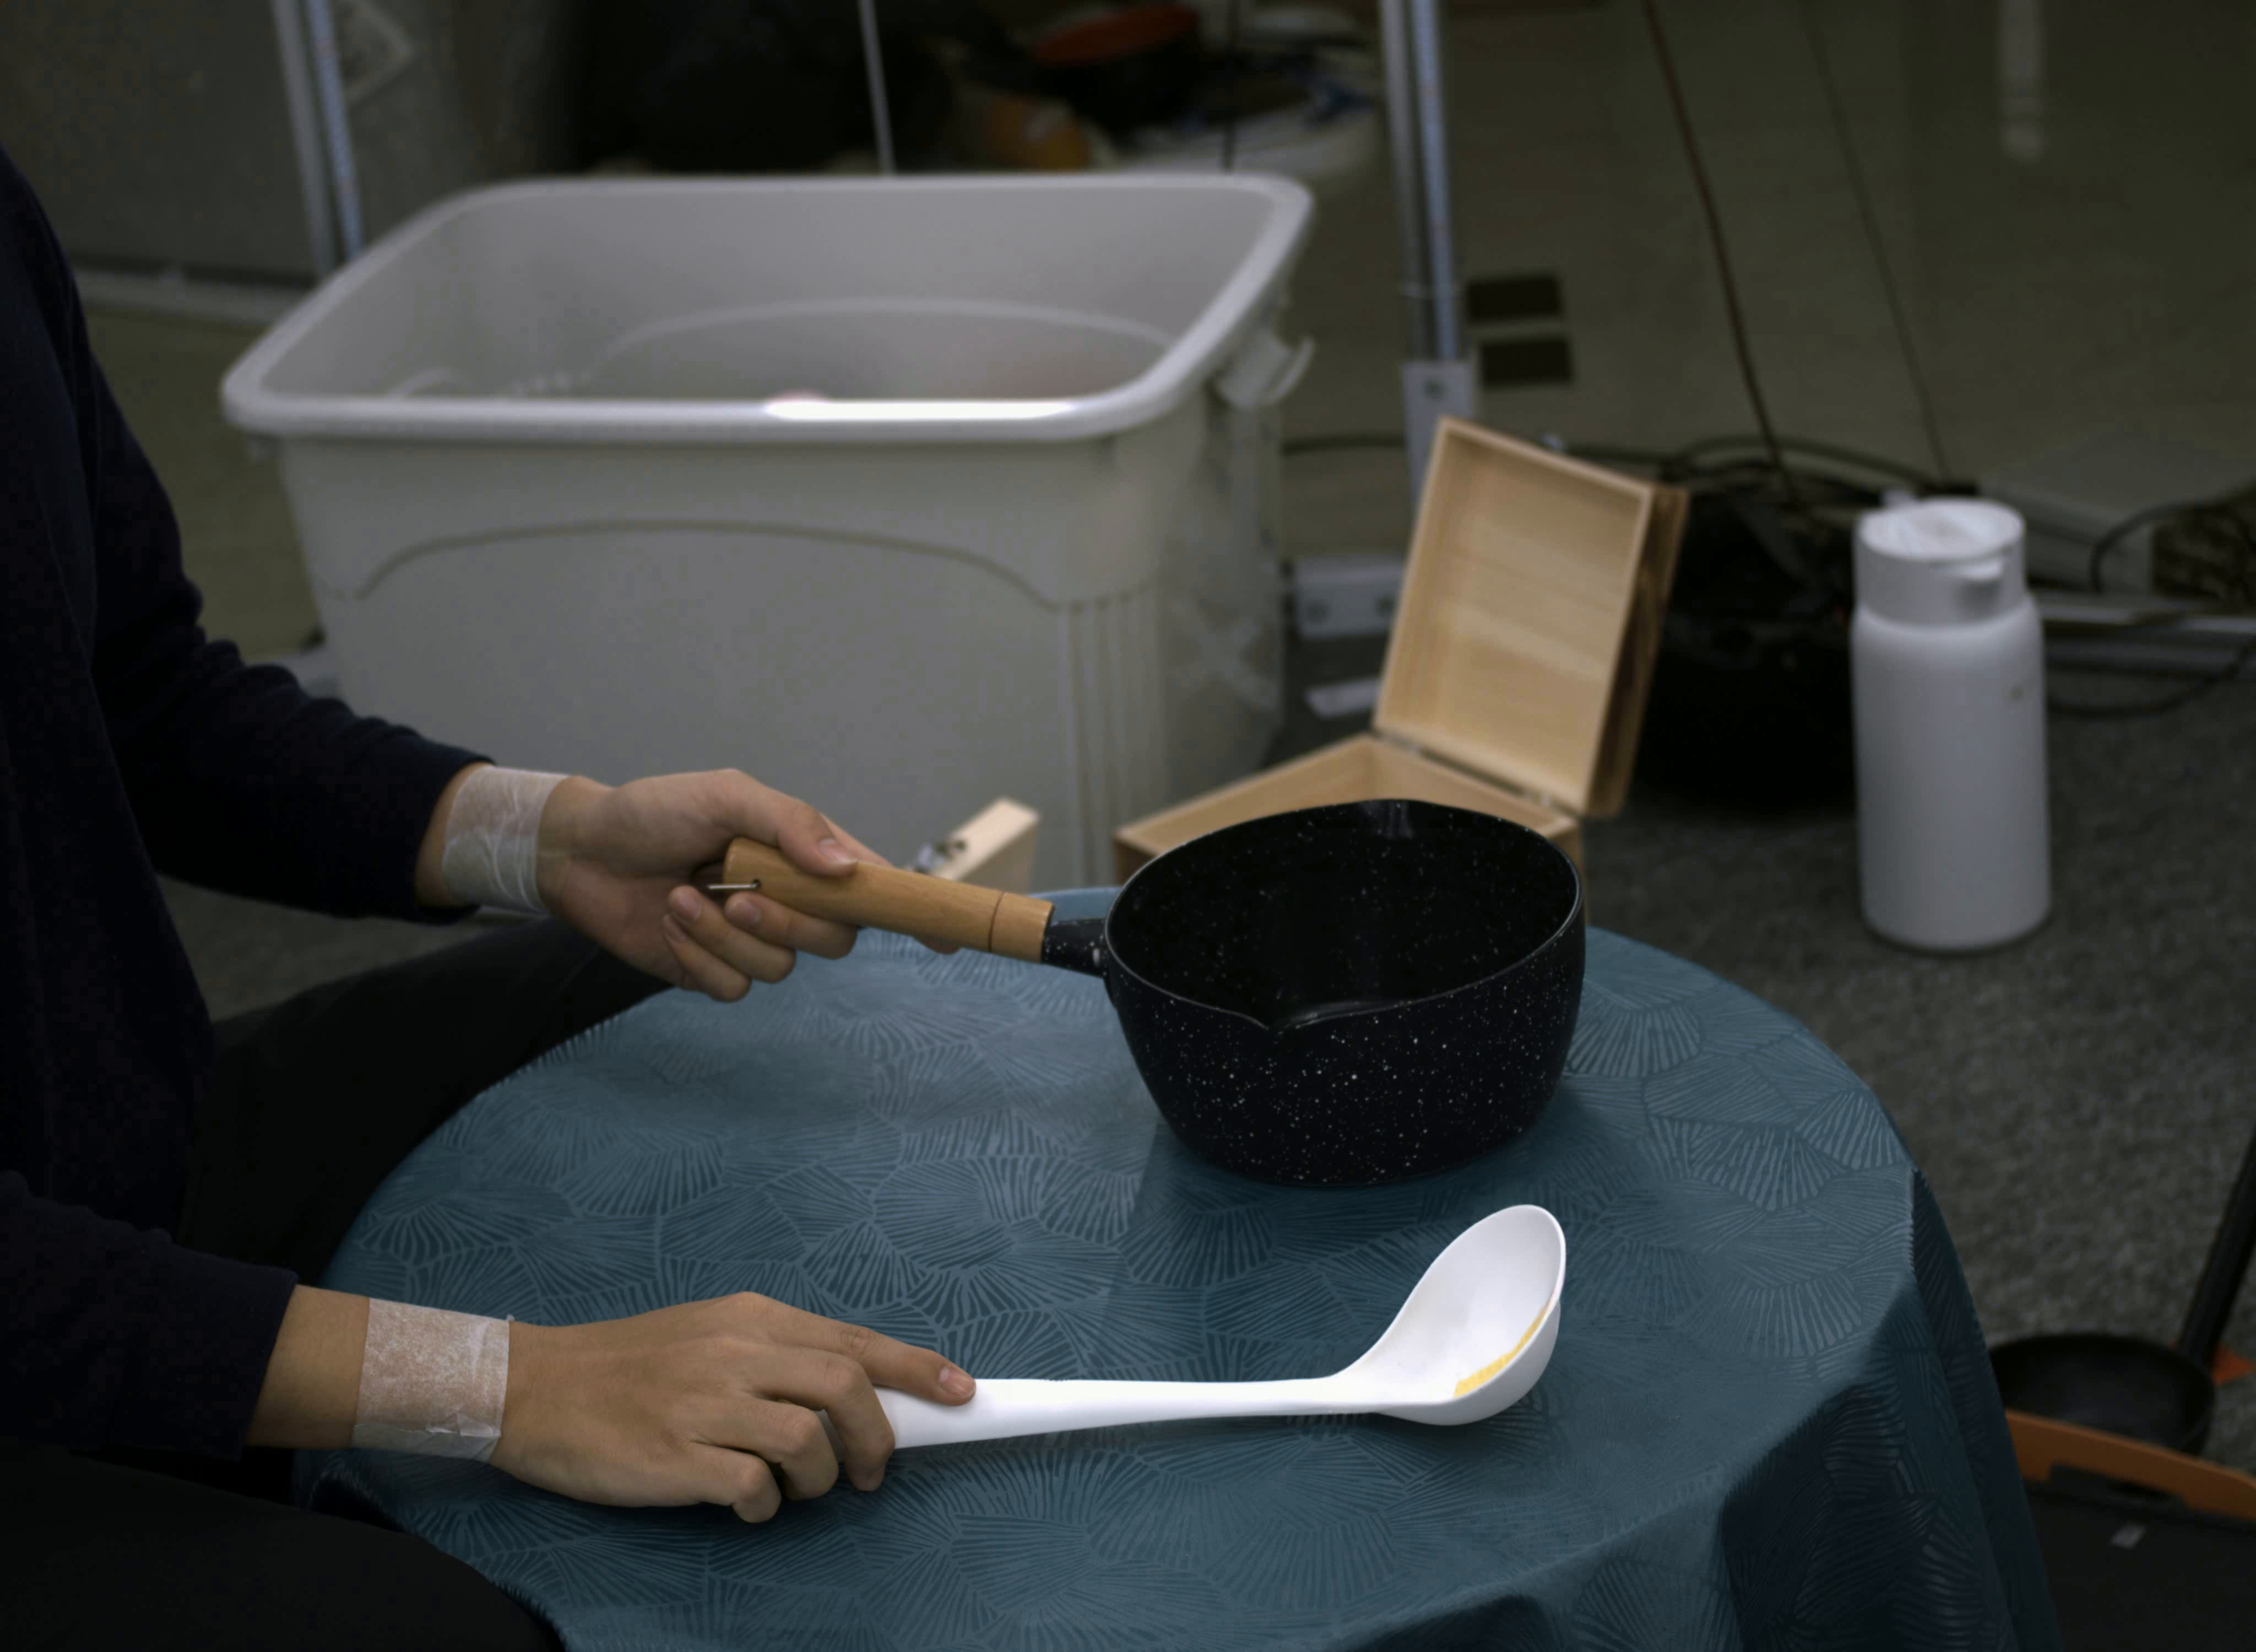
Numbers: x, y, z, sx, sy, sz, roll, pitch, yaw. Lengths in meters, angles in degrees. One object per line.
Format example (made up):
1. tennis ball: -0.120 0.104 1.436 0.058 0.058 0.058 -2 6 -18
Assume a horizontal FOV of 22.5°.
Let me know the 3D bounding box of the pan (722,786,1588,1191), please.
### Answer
1. pan: 0.008 0.056 2.192 0.342 0.110 0.204 1 27 14

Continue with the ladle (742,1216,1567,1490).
1. ladle: 0.008 0.189 1.963 0.292 0.071 0.088 -5 41 3
